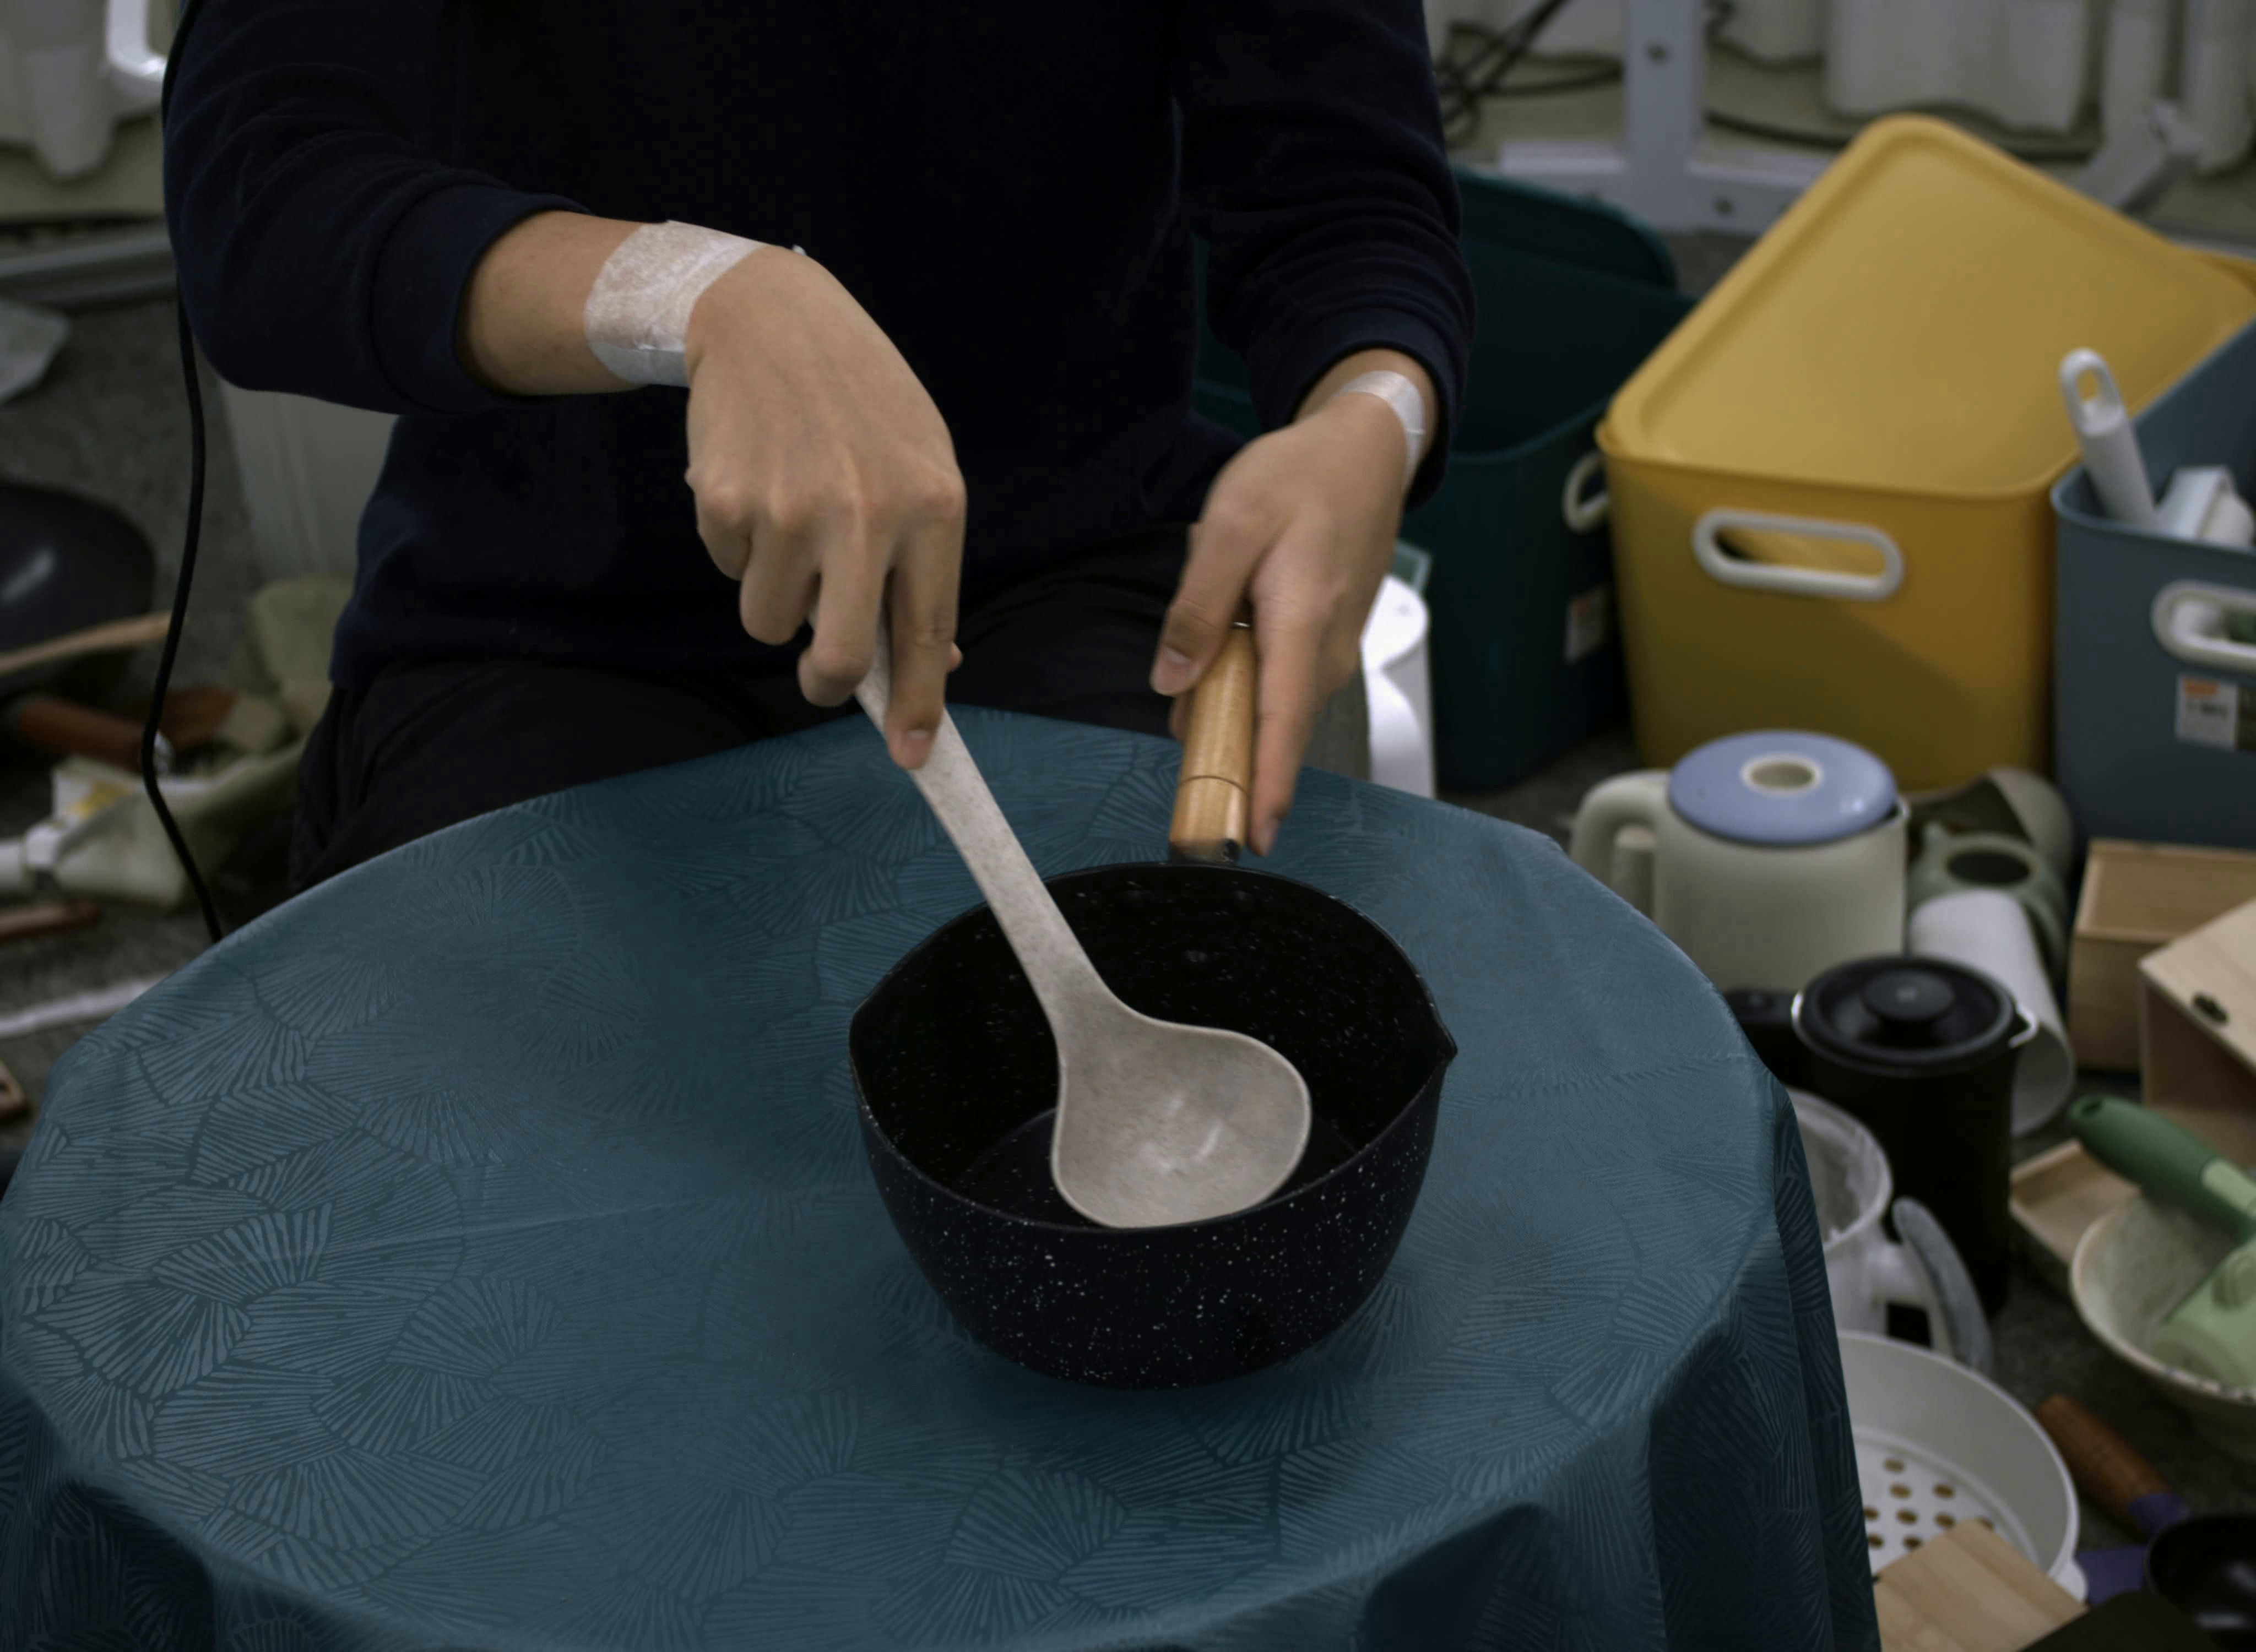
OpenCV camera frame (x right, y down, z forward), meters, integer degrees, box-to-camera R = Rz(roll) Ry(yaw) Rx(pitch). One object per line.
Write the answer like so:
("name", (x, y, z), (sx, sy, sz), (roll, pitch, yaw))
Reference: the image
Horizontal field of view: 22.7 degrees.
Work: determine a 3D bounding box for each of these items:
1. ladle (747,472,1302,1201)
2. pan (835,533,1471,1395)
("ladle", (-0.039, 0.006, 1.791), (0.090, 0.274, 0.069), (-33, 12, -19))
("pan", (0.020, 0.043, 1.850), (0.206, 0.107, 0.350), (1, 38, 10))
